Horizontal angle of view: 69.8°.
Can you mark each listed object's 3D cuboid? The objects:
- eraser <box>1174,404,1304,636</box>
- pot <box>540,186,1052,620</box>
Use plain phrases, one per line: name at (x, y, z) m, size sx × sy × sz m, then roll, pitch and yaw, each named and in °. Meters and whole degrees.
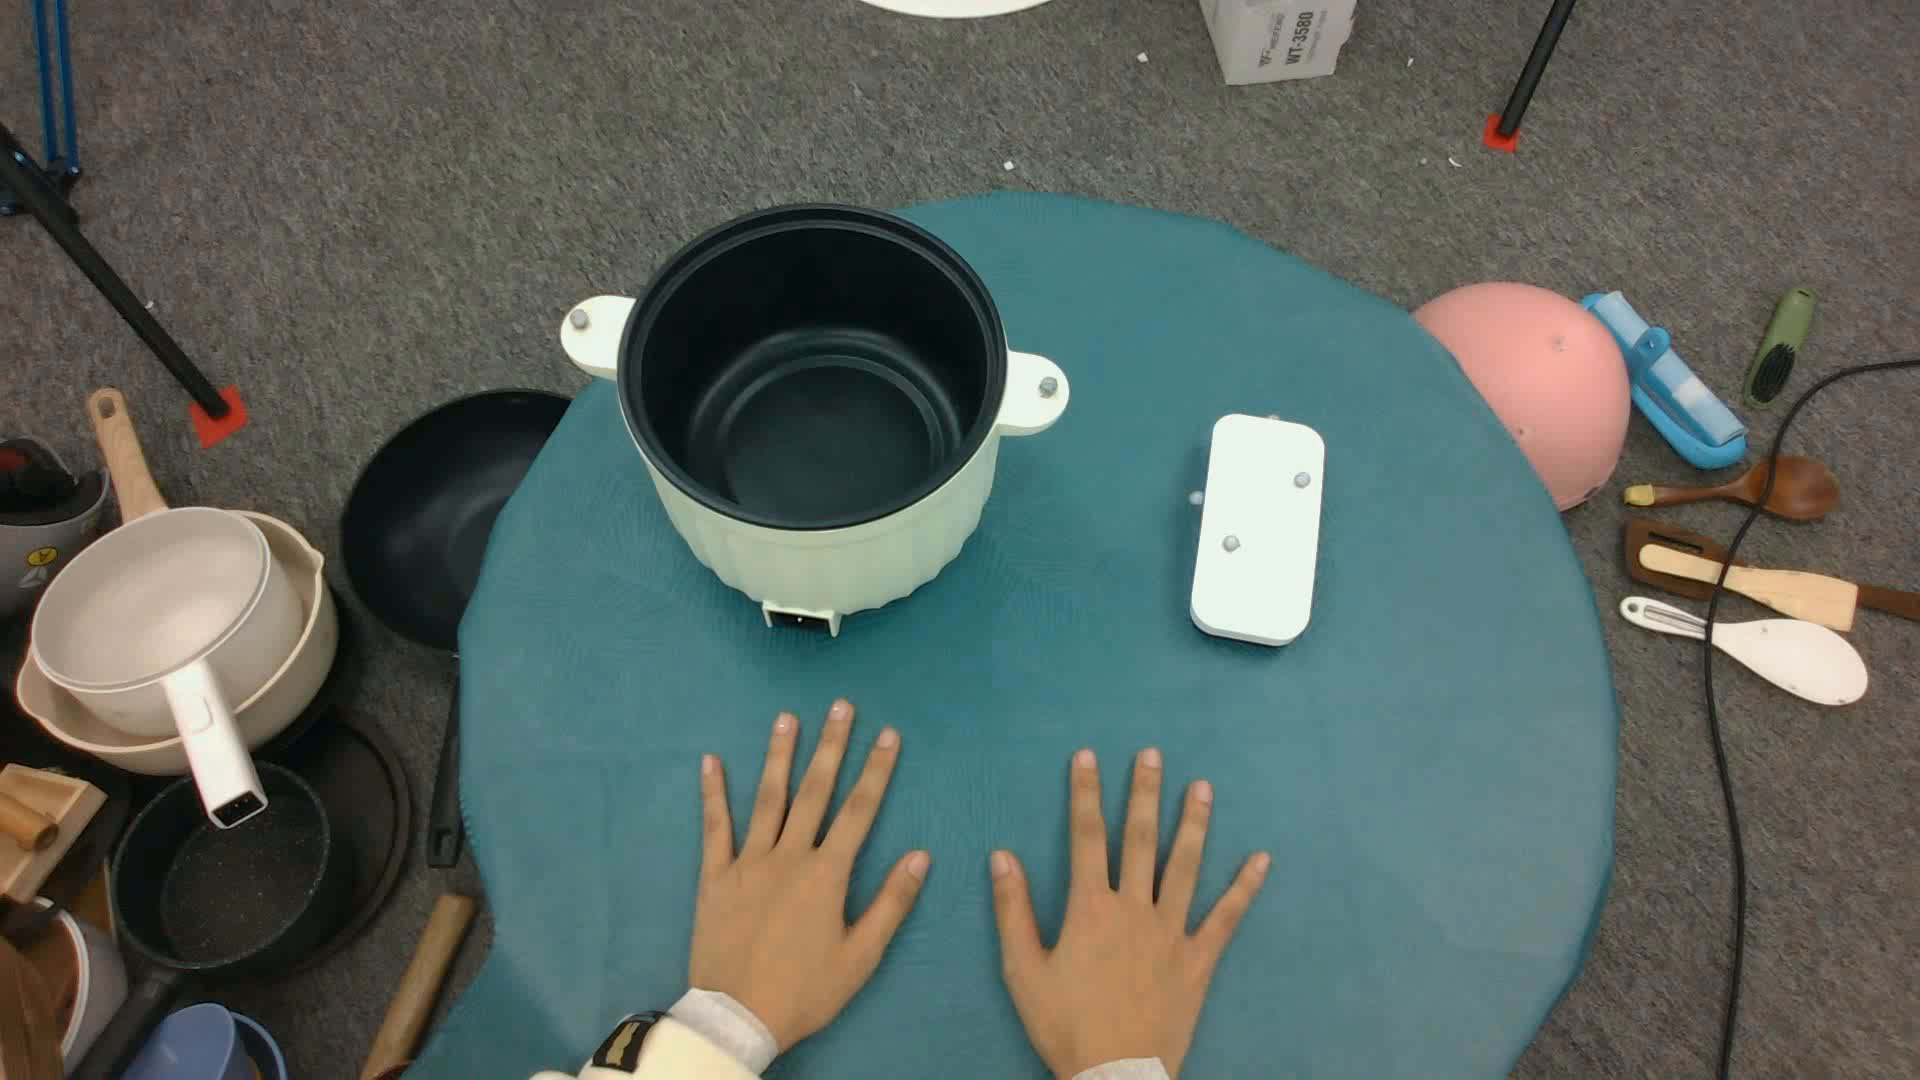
eraser at (0.149, -0.013, 0.741) m, size 0.063 × 0.034 × 0.132 m, roll 9°, pitch 63°, yaw 5°
pot at (-0.079, -0.069, 0.699) m, size 0.240 × 0.142 × 0.191 m, roll 8°, pitch 67°, yaw 1°
